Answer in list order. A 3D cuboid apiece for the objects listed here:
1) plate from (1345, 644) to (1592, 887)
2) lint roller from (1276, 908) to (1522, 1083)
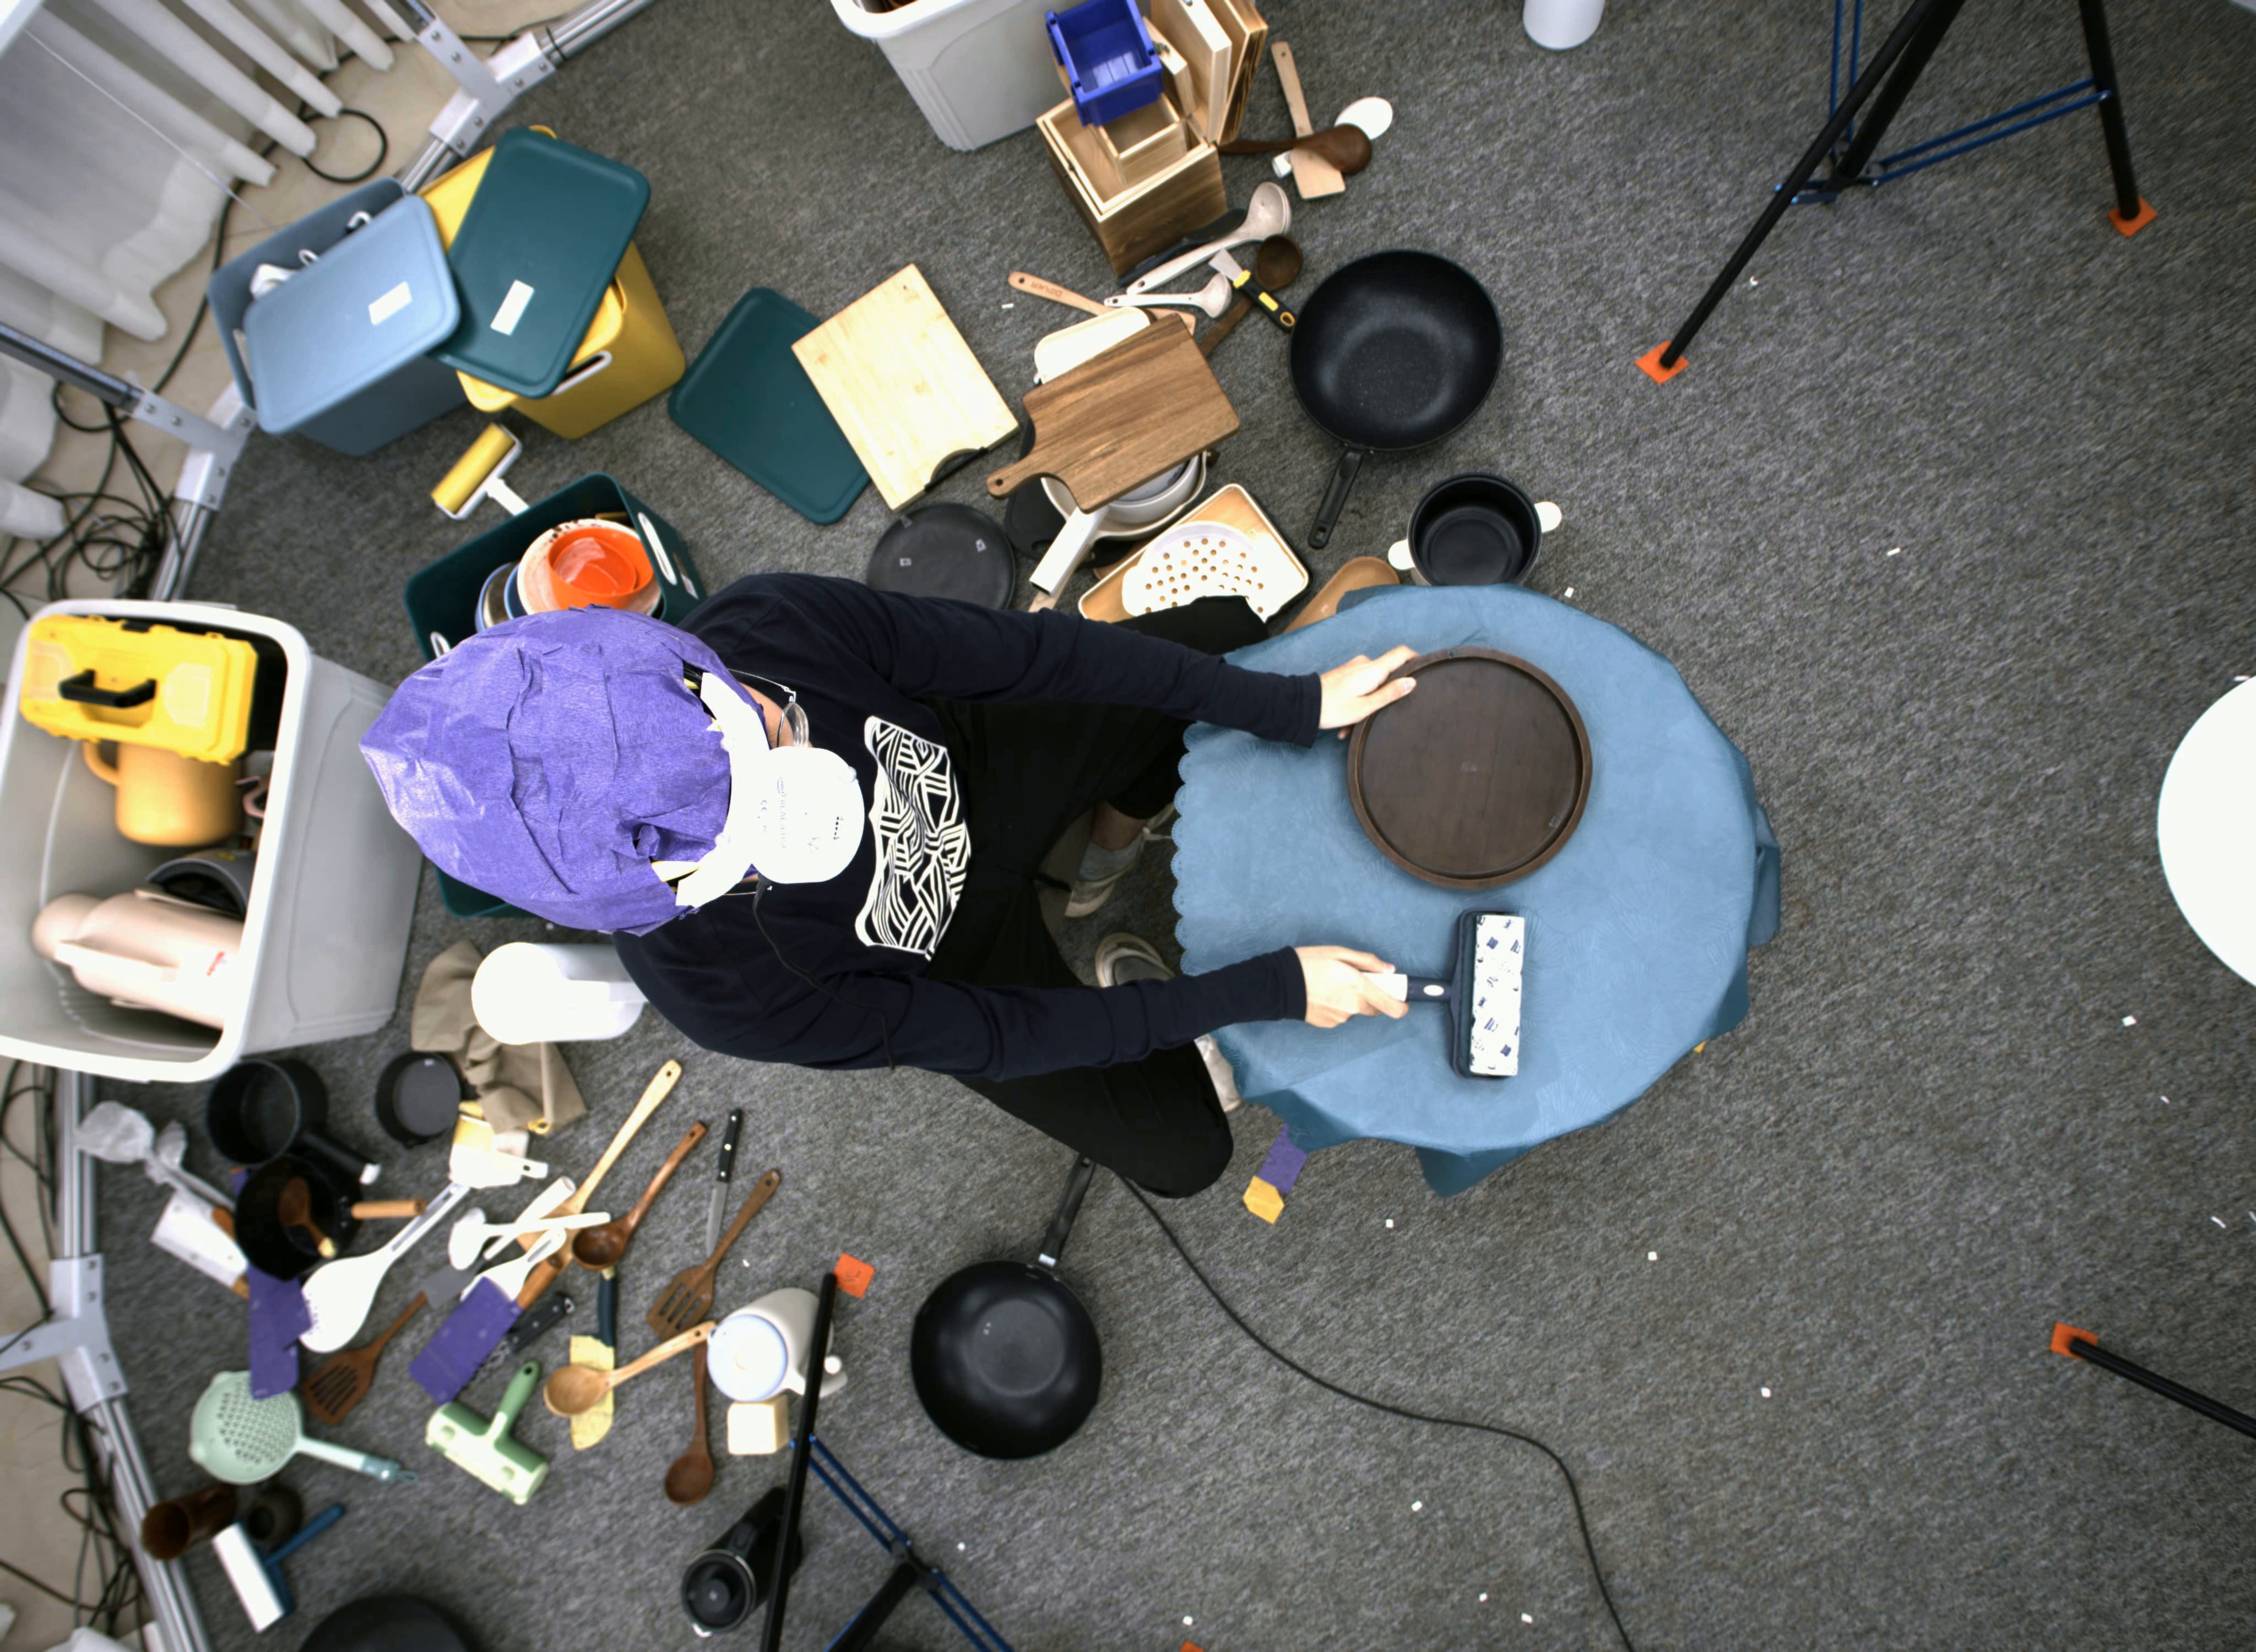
[{"bbox_3d":[0.352,-0.064,1.428,0.255,0.029,0.255,0,92,8],"label":"plate"},{"bbox_3d":[0.276,0.166,1.422,0.248,0.050,0.176,3,88,8],"label":"lint roller"}]
